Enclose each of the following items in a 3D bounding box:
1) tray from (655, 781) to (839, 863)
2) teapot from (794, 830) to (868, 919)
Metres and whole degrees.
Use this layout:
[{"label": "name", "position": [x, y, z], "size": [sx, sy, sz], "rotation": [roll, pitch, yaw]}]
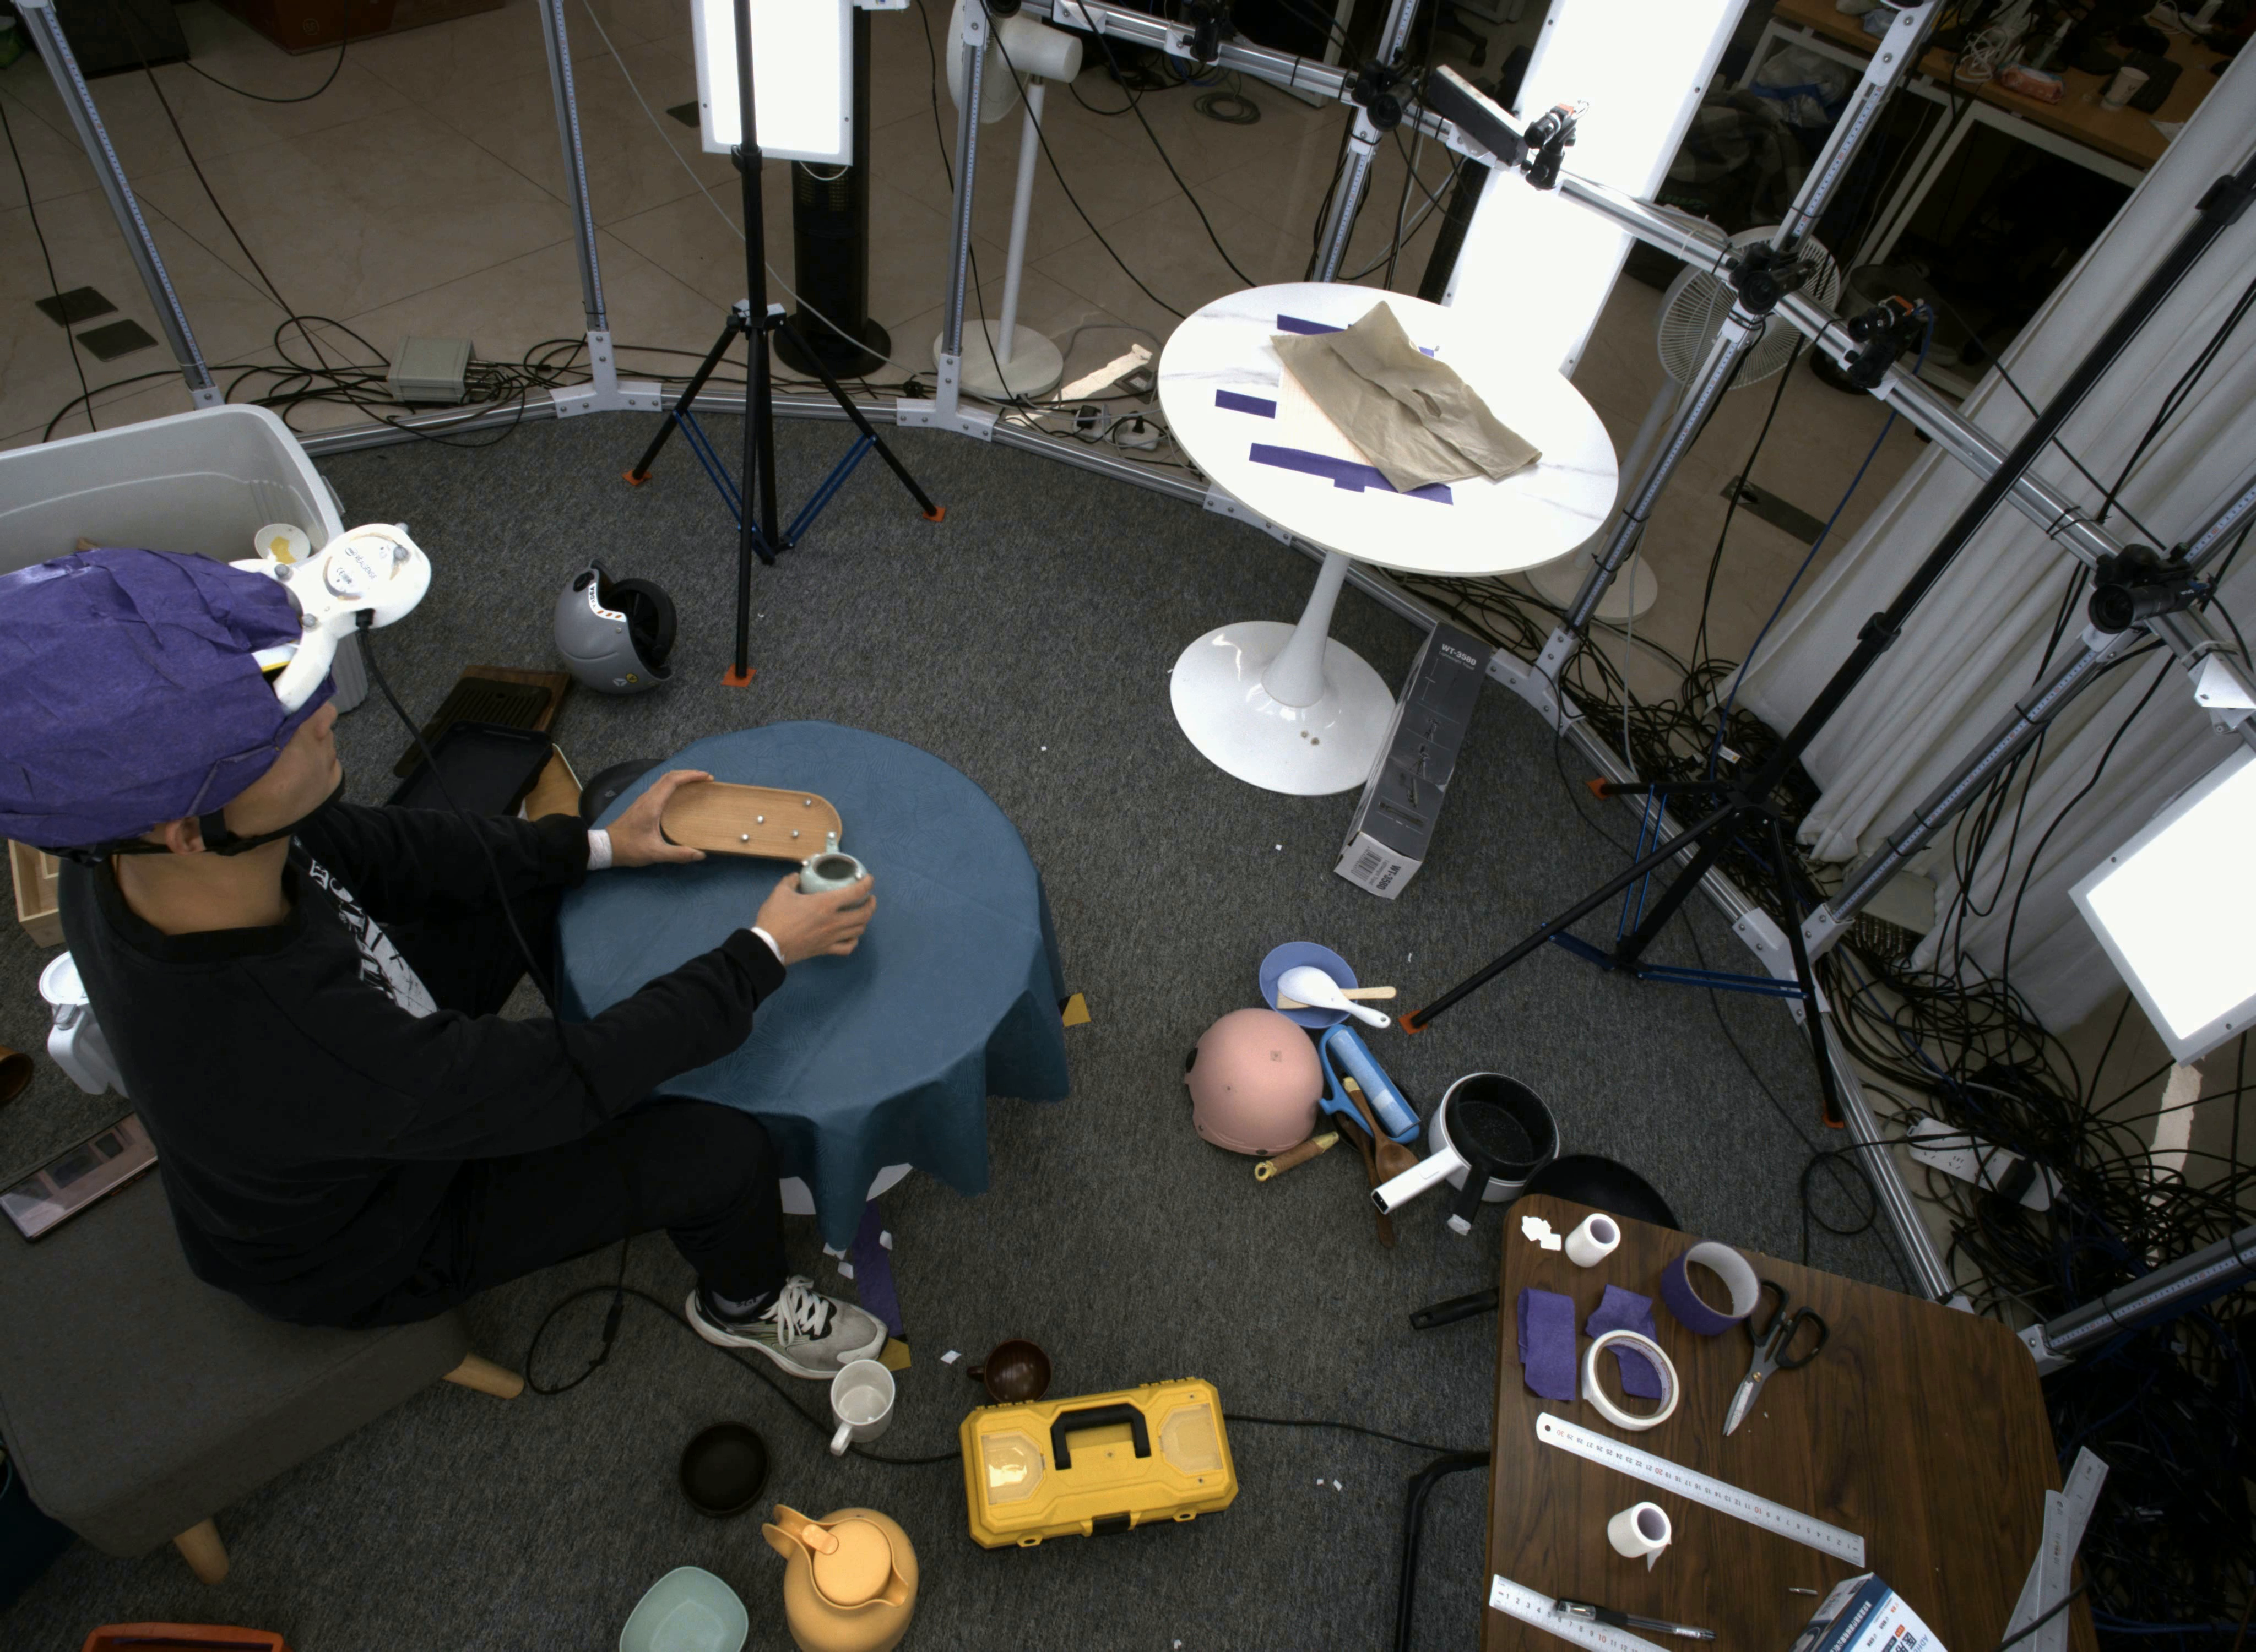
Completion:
[{"label": "tray", "position": [-0.487, -0.005, 1.656], "size": [0.233, 0.020, 0.100], "rotation": [5, 60, -21]}, {"label": "teapot", "position": [-0.362, 0.068, 1.583], "size": [0.088, 0.077, 0.139], "rotation": [-1, 33, -16]}]
